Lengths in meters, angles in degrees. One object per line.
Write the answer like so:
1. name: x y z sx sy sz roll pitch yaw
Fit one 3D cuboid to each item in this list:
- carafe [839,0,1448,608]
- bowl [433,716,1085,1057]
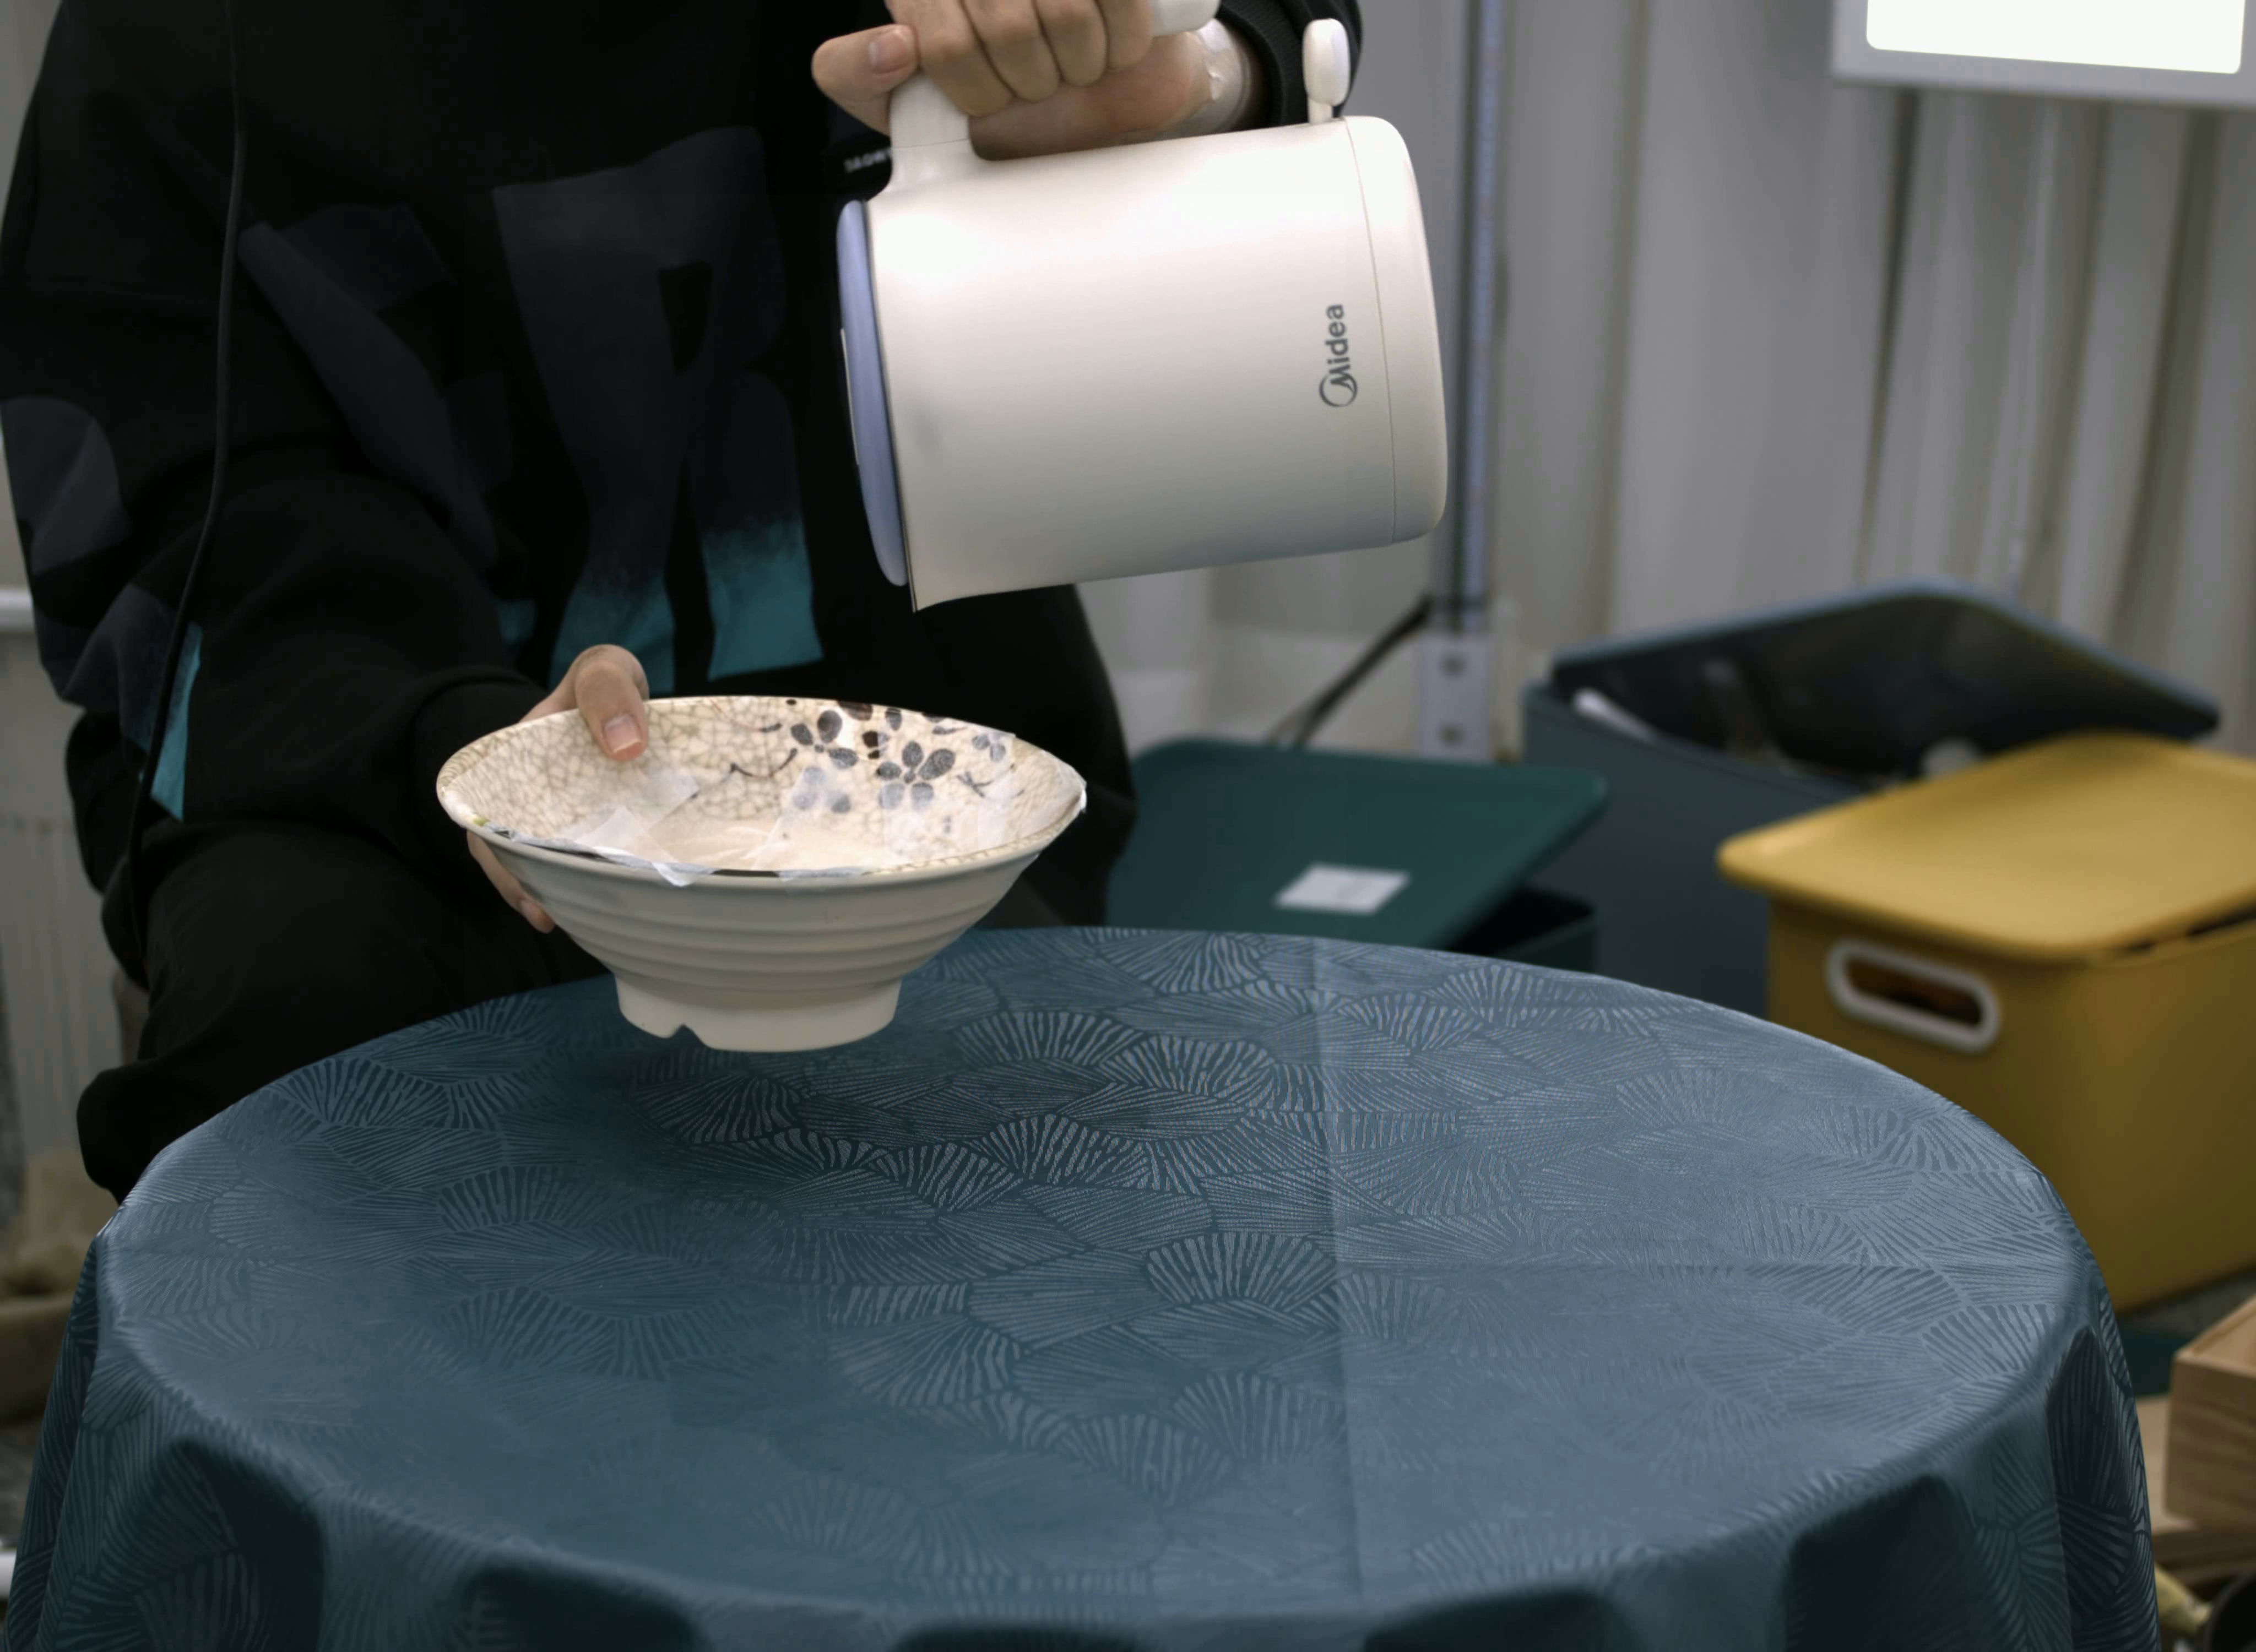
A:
1. carafe: 0.003 -0.167 1.596 0.182 0.192 0.131 -5 9 -4
2. bowl: -0.116 0.024 1.651 0.203 0.078 0.203 3 13 0
